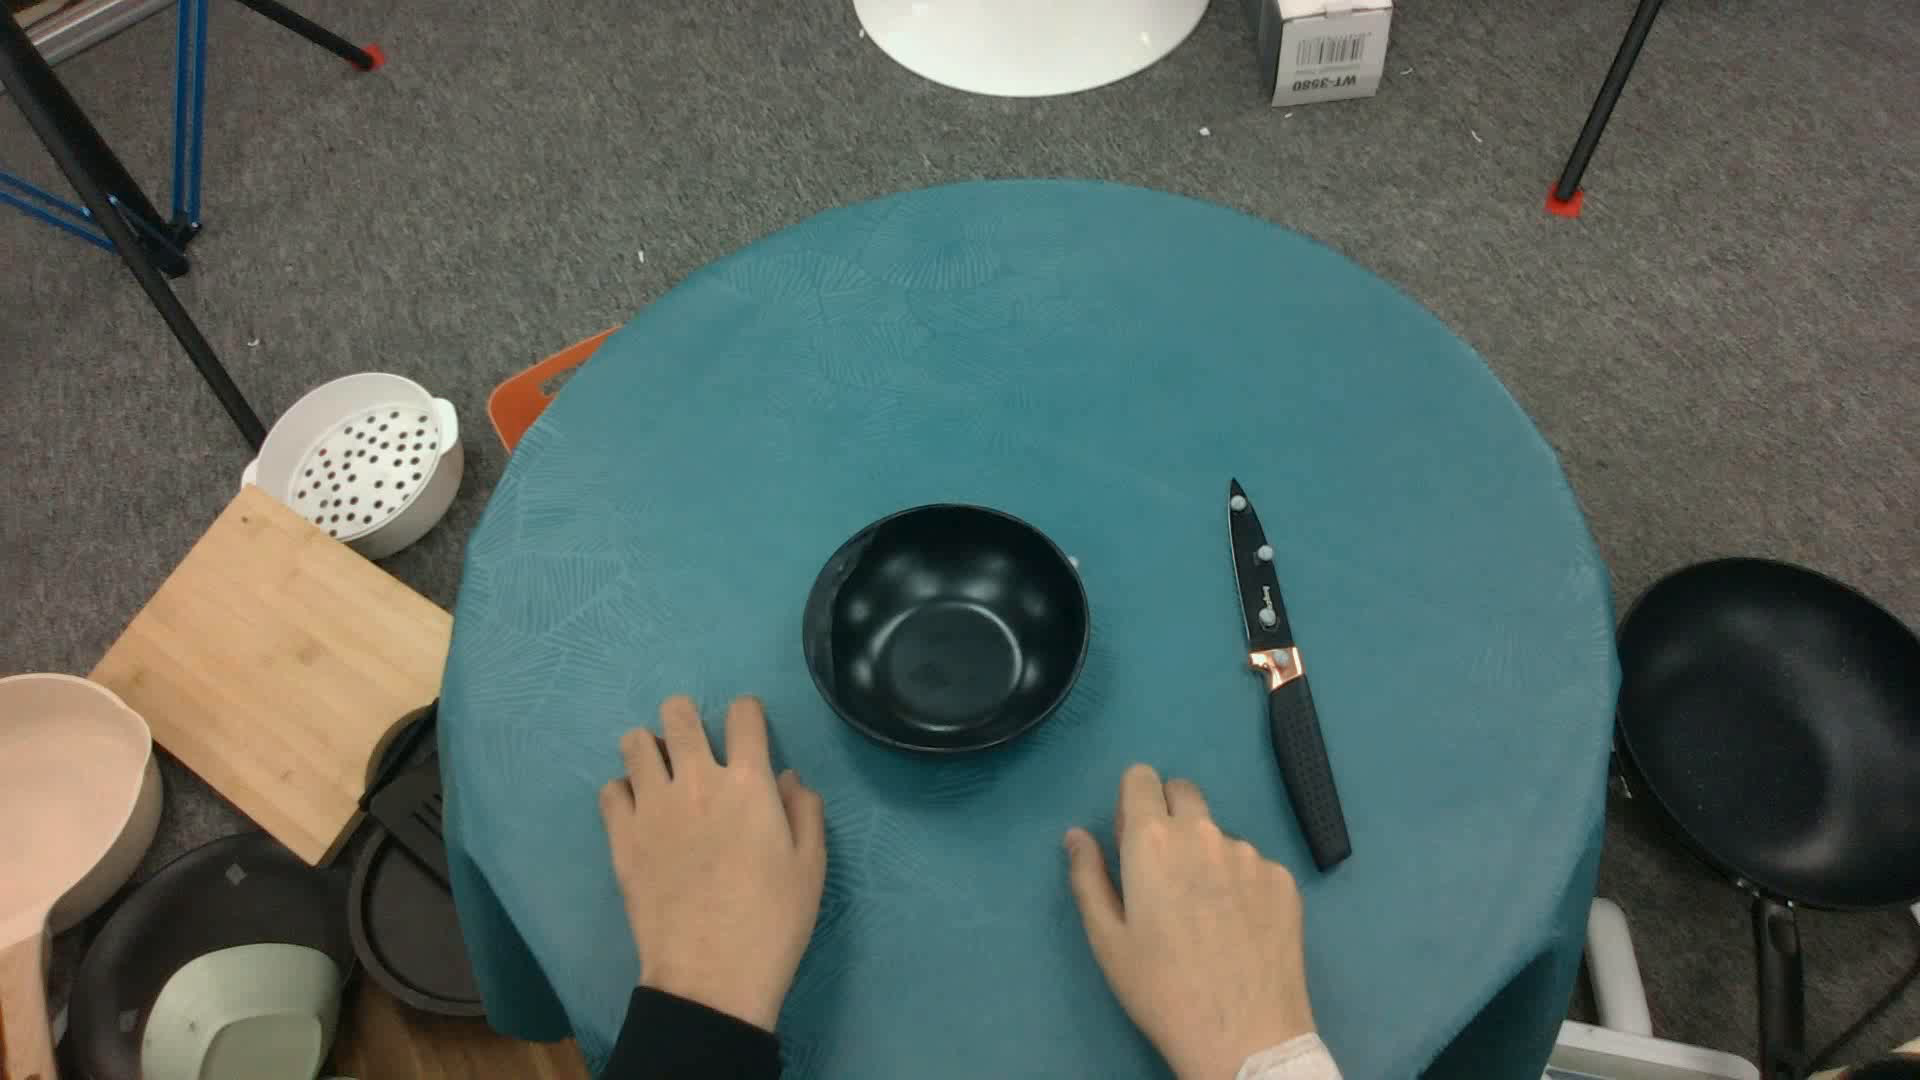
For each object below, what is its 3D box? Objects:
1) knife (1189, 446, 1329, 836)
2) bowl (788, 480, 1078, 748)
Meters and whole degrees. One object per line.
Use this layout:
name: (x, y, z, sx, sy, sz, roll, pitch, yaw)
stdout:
knife: (0.147, 0.041, 0.690, 0.026, 0.017, 0.226, -8, 57, 0)
bowl: (-0.013, 0.042, 0.677, 0.140, 0.049, 0.140, 0, 62, 0)
